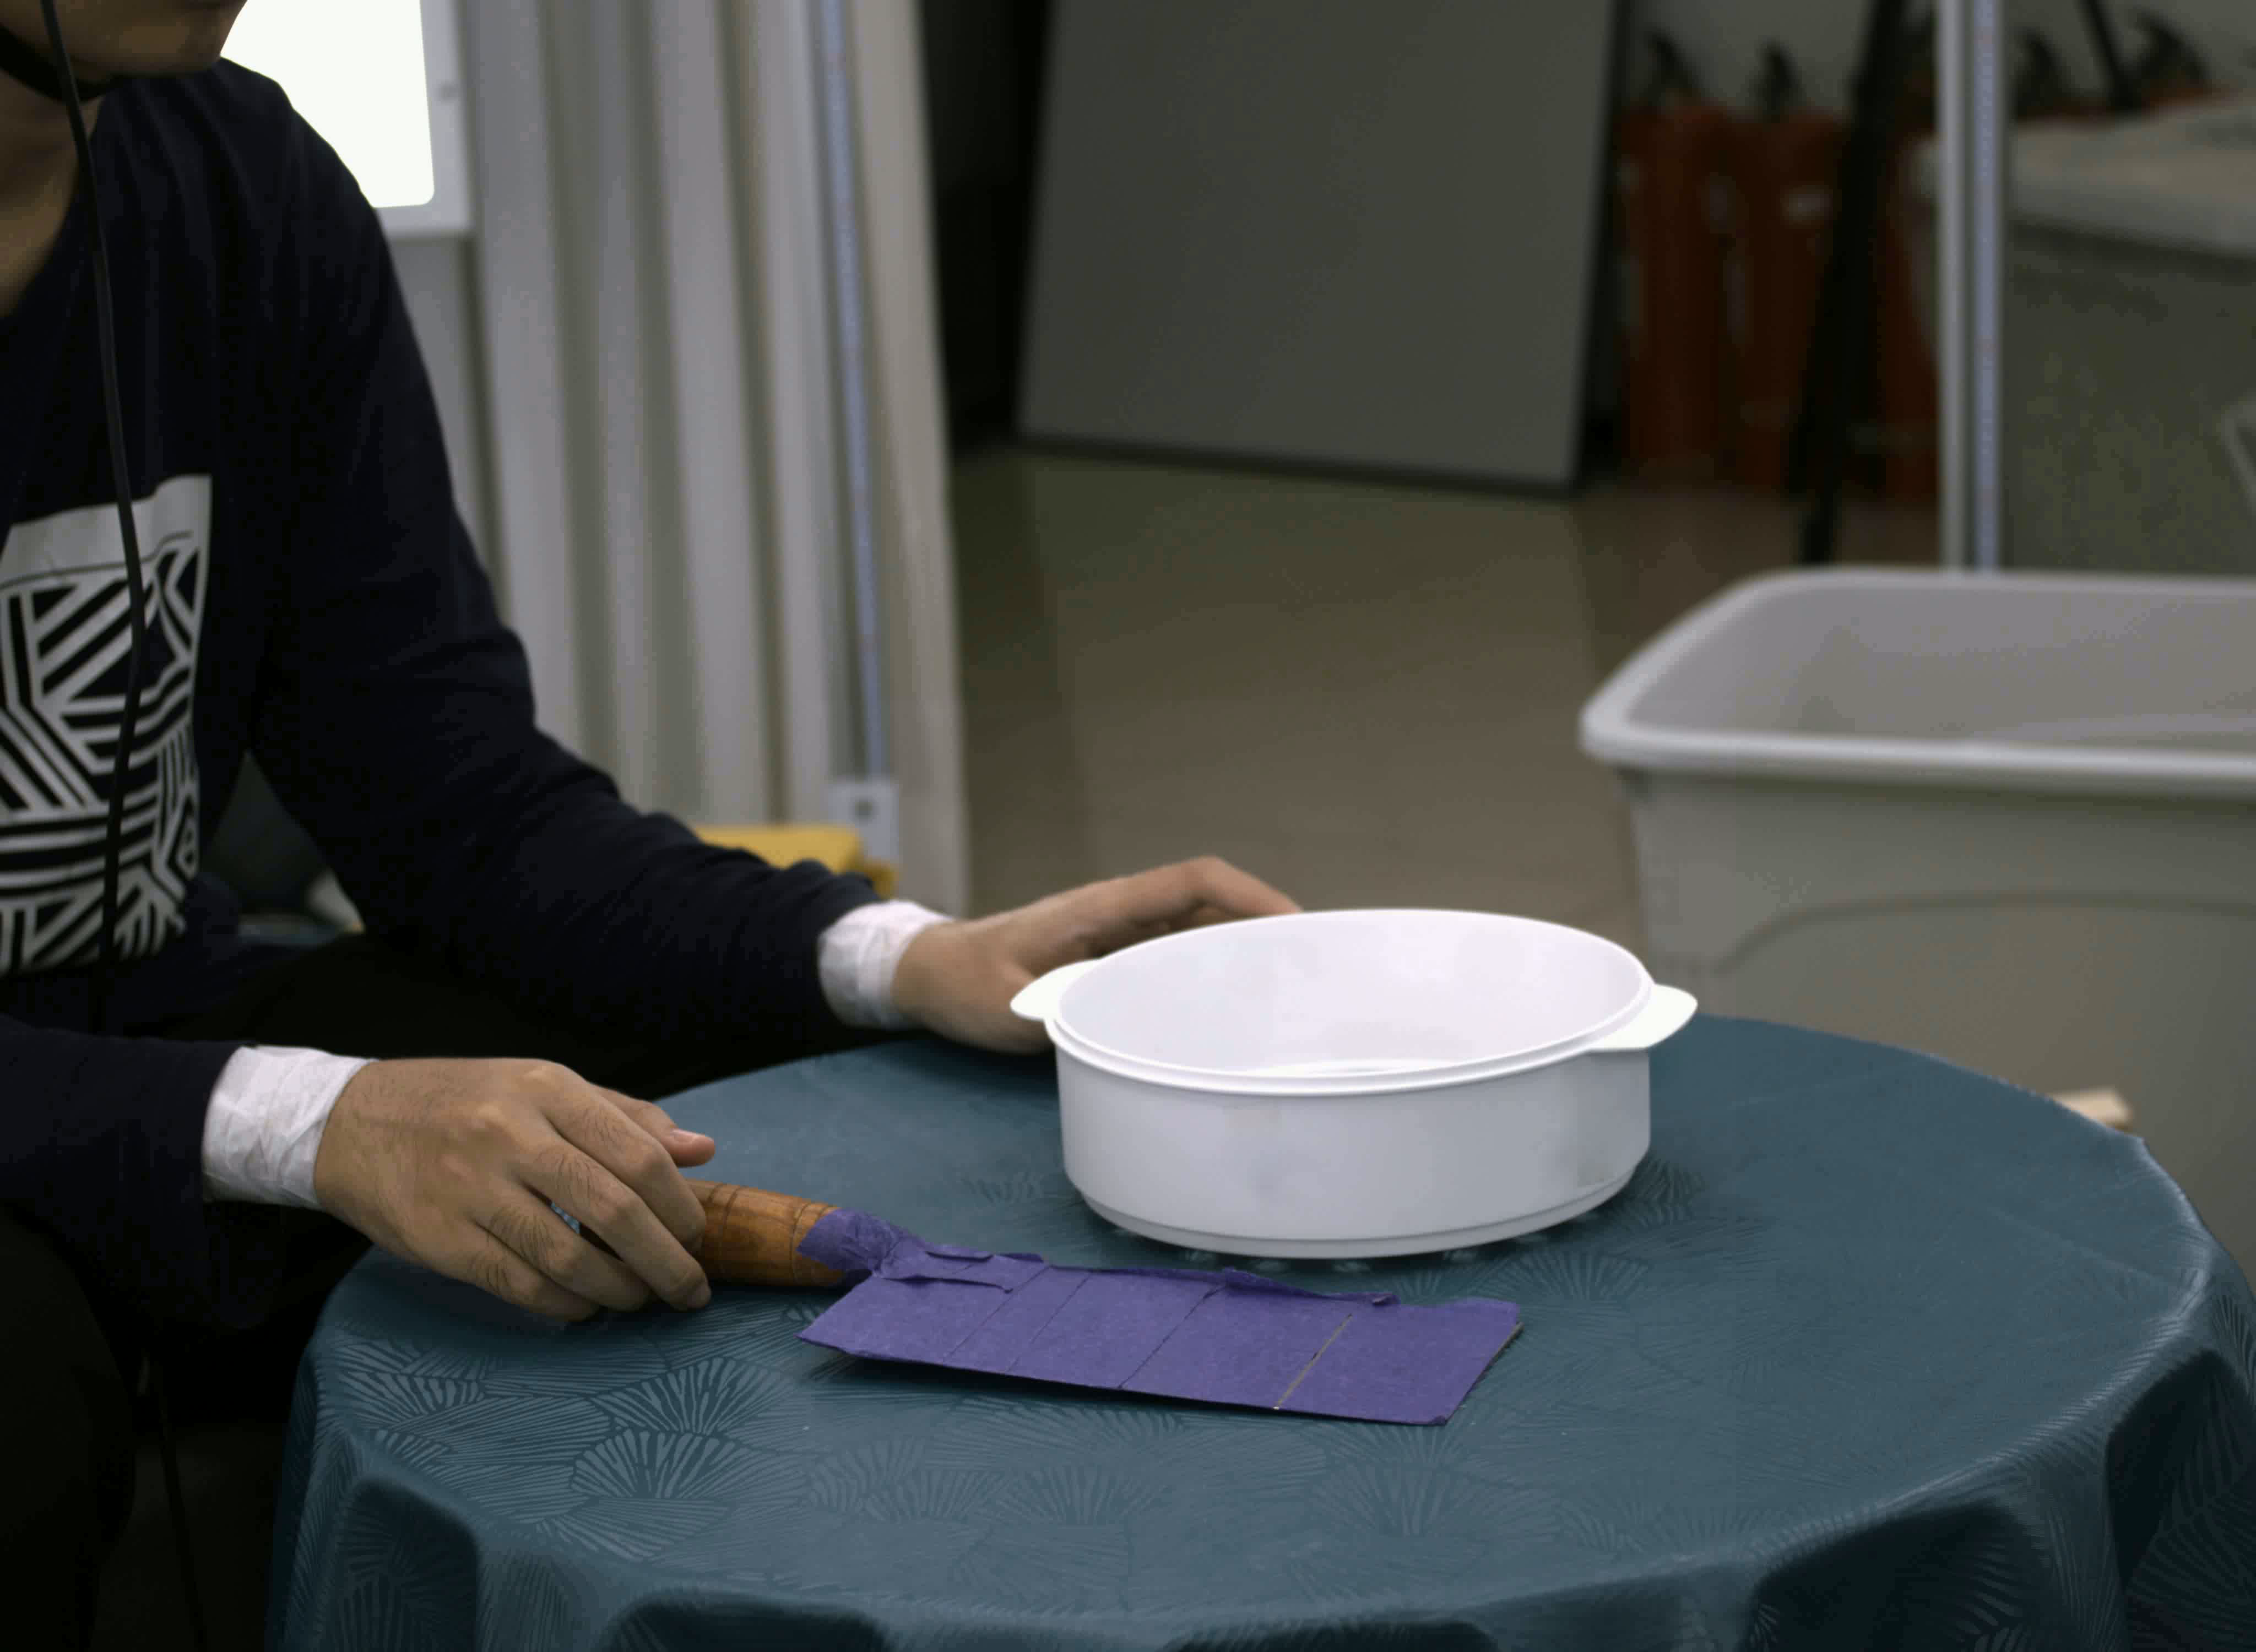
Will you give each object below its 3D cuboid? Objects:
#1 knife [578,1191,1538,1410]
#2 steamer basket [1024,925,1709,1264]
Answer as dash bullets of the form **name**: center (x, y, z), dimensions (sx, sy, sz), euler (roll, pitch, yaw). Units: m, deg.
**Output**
- **knife**: center (-0.036, 0.144, 1.636), dimensions (0.315, 0.032, 0.102), euler (2, 14, 22)
- **steamer basket**: center (0.079, 0.087, 1.756), dimensions (0.231, 0.070, 0.199), euler (-1, 12, 24)
